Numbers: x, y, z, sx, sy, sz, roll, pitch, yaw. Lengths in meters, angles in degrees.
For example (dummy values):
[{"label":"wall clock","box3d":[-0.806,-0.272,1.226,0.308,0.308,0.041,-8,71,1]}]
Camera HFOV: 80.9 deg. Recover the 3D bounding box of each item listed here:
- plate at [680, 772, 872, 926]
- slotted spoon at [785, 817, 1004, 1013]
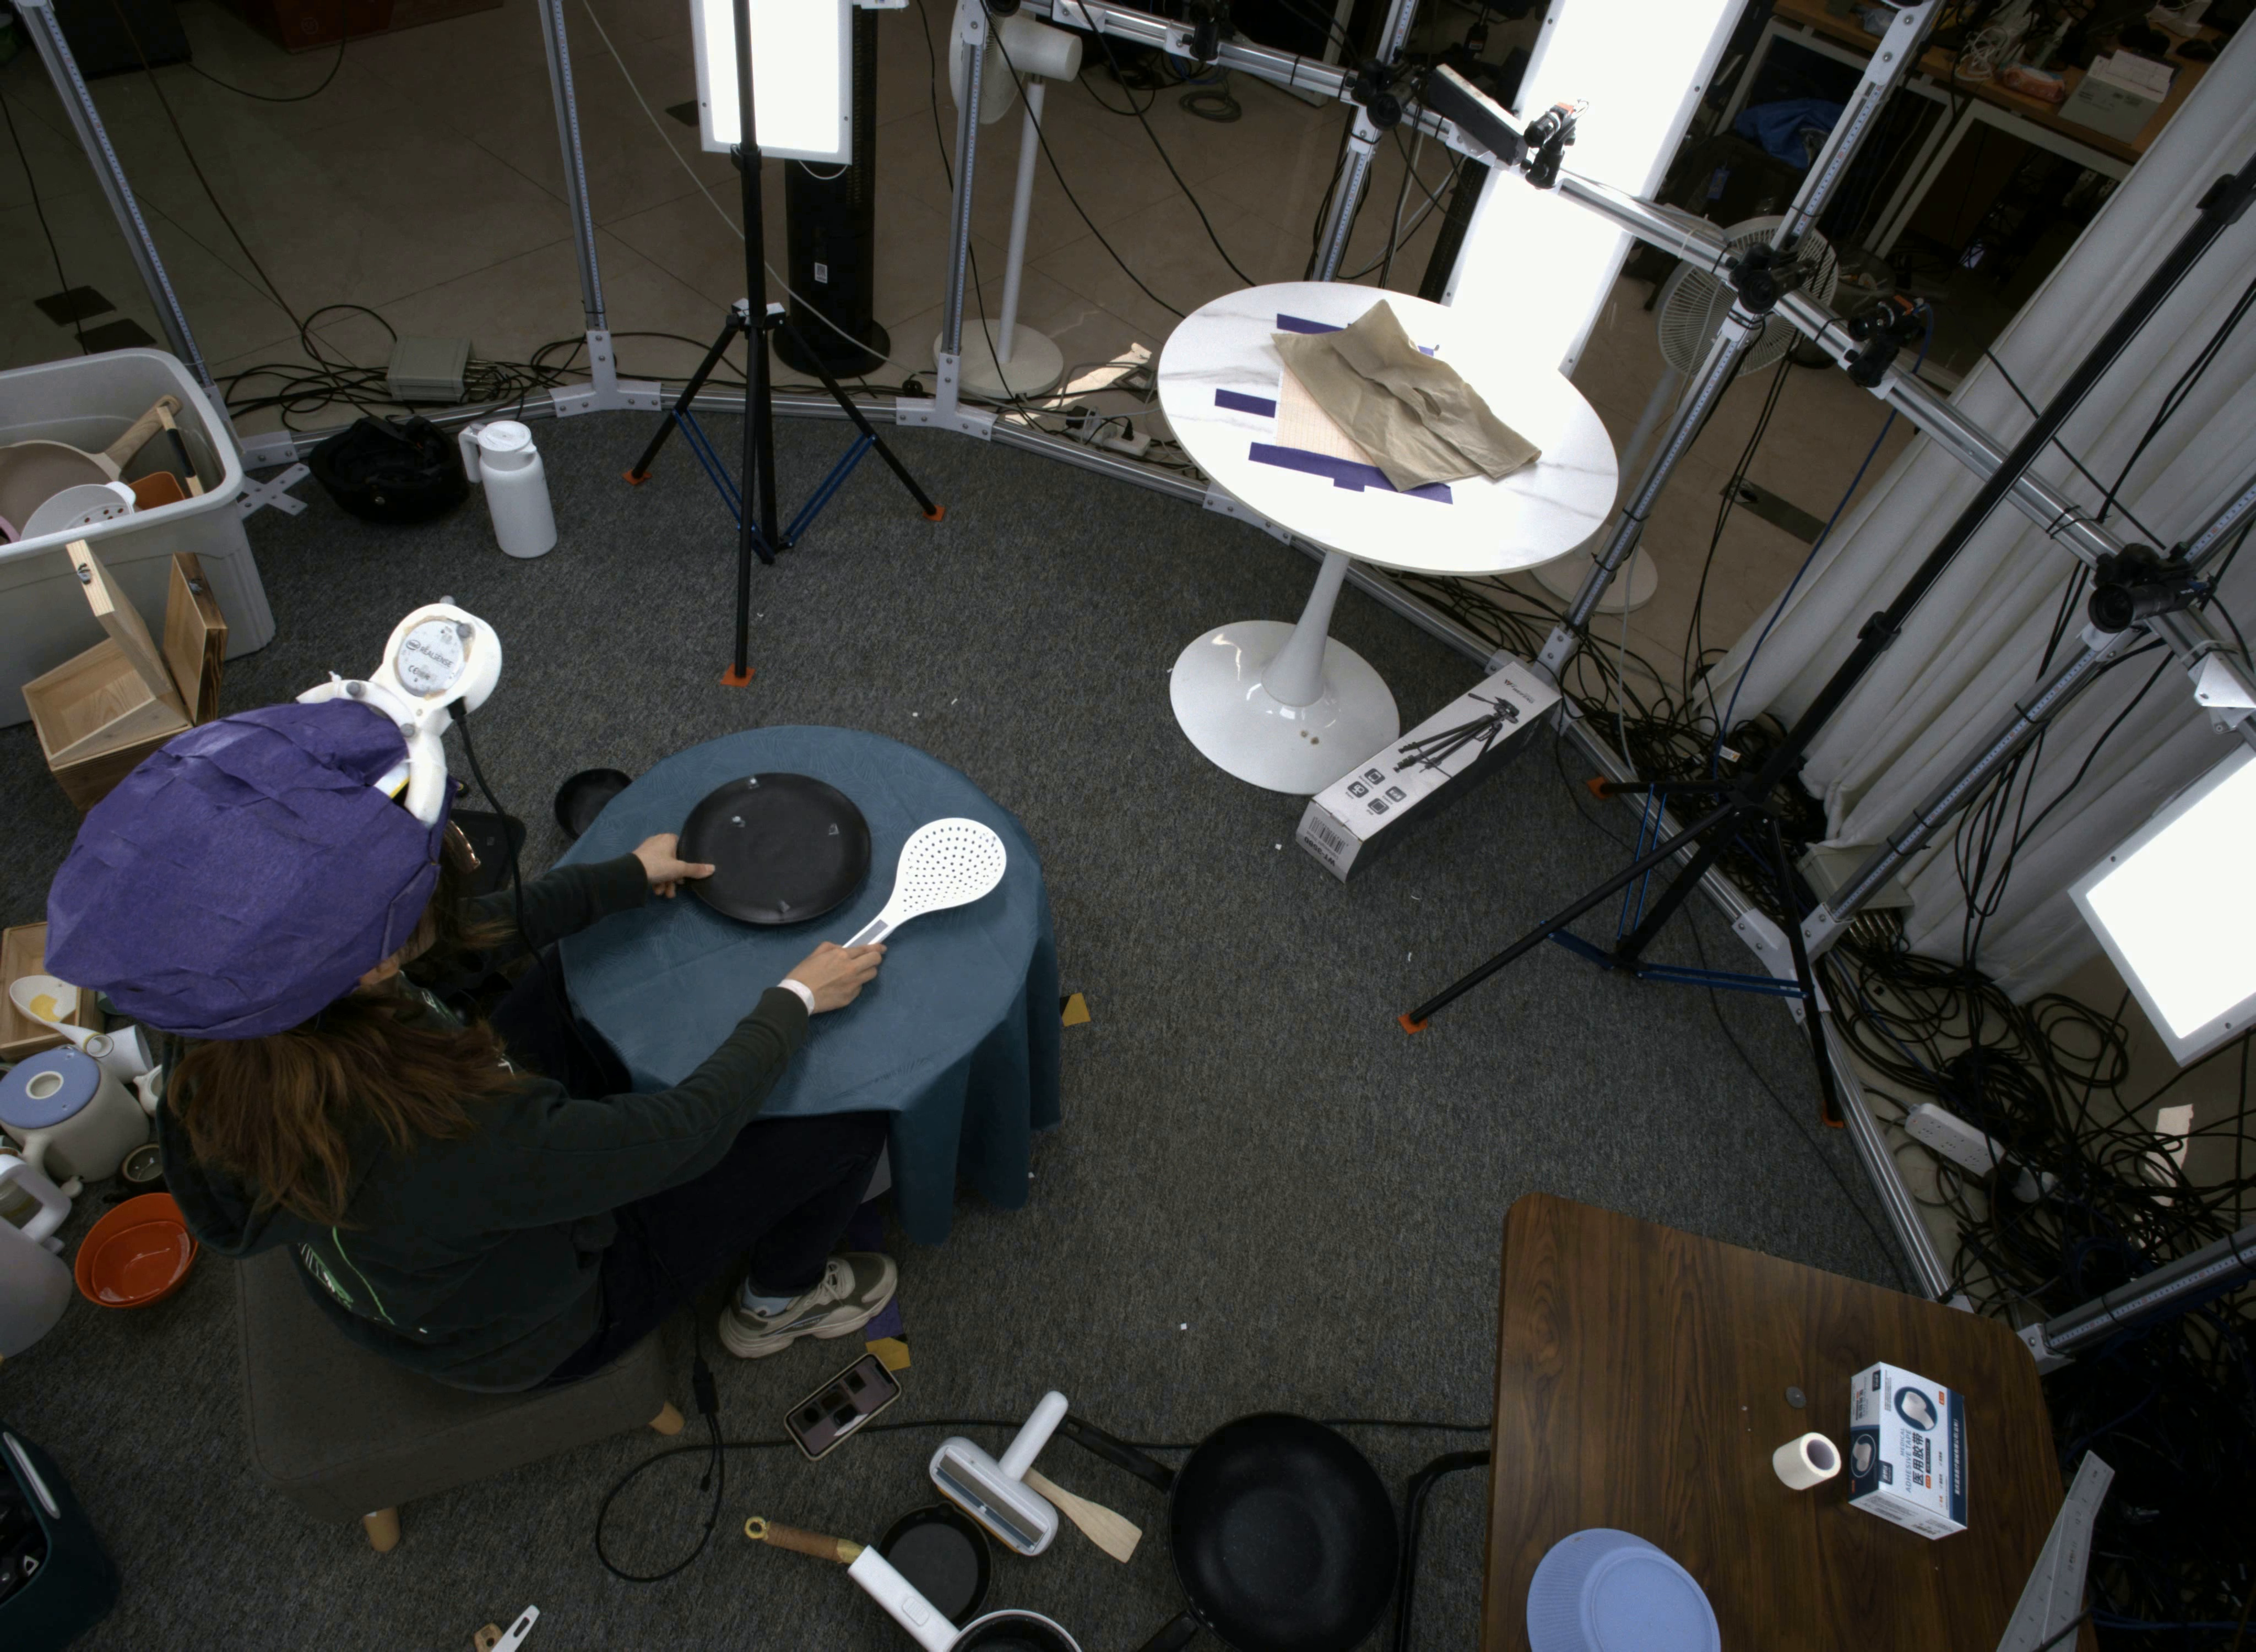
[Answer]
[{"label":"plate","box3d":[-0.456,0.029,1.683,0.244,0.024,0.240,8,53,-10]},{"label":"slotted spoon","box3d":[-0.297,0.111,1.650,0.132,0.047,0.350,34,54,21]}]
